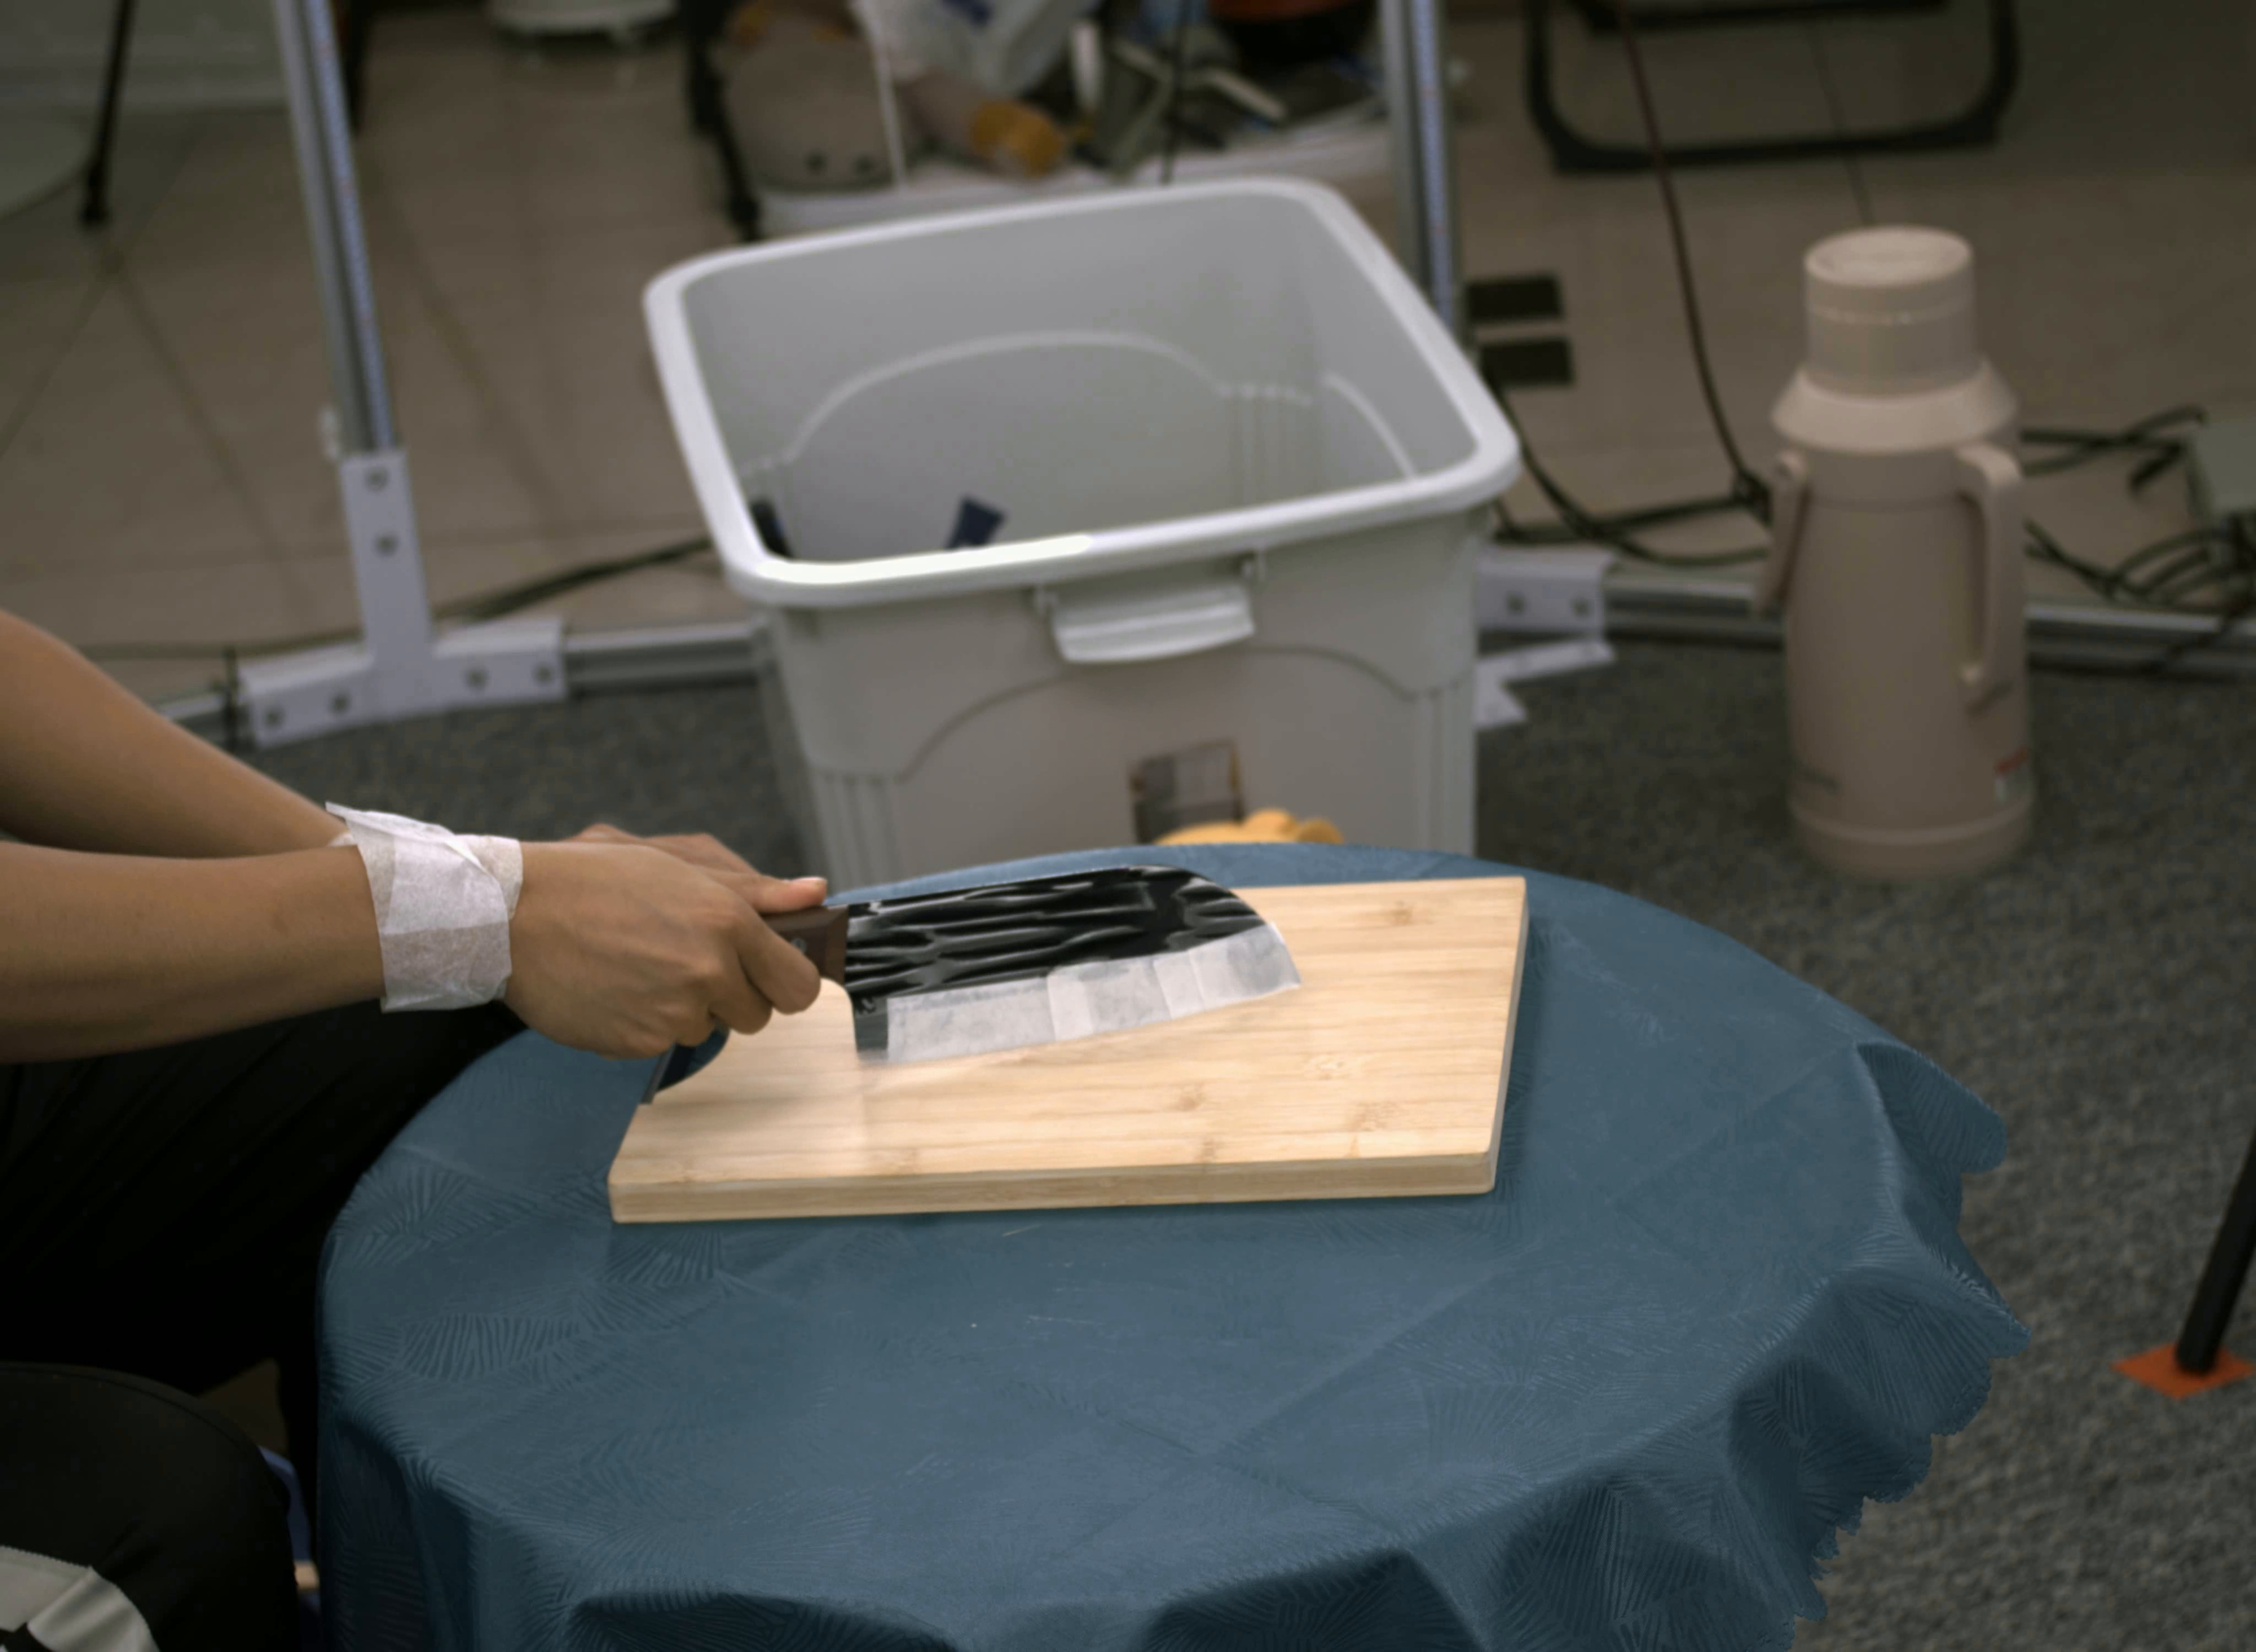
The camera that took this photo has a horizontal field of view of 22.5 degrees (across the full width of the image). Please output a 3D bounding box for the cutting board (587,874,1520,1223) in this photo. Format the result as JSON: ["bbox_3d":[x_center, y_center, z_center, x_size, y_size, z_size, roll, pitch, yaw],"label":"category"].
[{"bbox_3d":[-0.023,0.087,2.250,0.348,0.024,0.247,-3,25,8],"label":"cutting board"}]

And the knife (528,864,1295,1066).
[{"bbox_3d":[-0.083,0.058,2.213,0.299,0.069,0.024,-6,13,-8],"label":"knife"}]
